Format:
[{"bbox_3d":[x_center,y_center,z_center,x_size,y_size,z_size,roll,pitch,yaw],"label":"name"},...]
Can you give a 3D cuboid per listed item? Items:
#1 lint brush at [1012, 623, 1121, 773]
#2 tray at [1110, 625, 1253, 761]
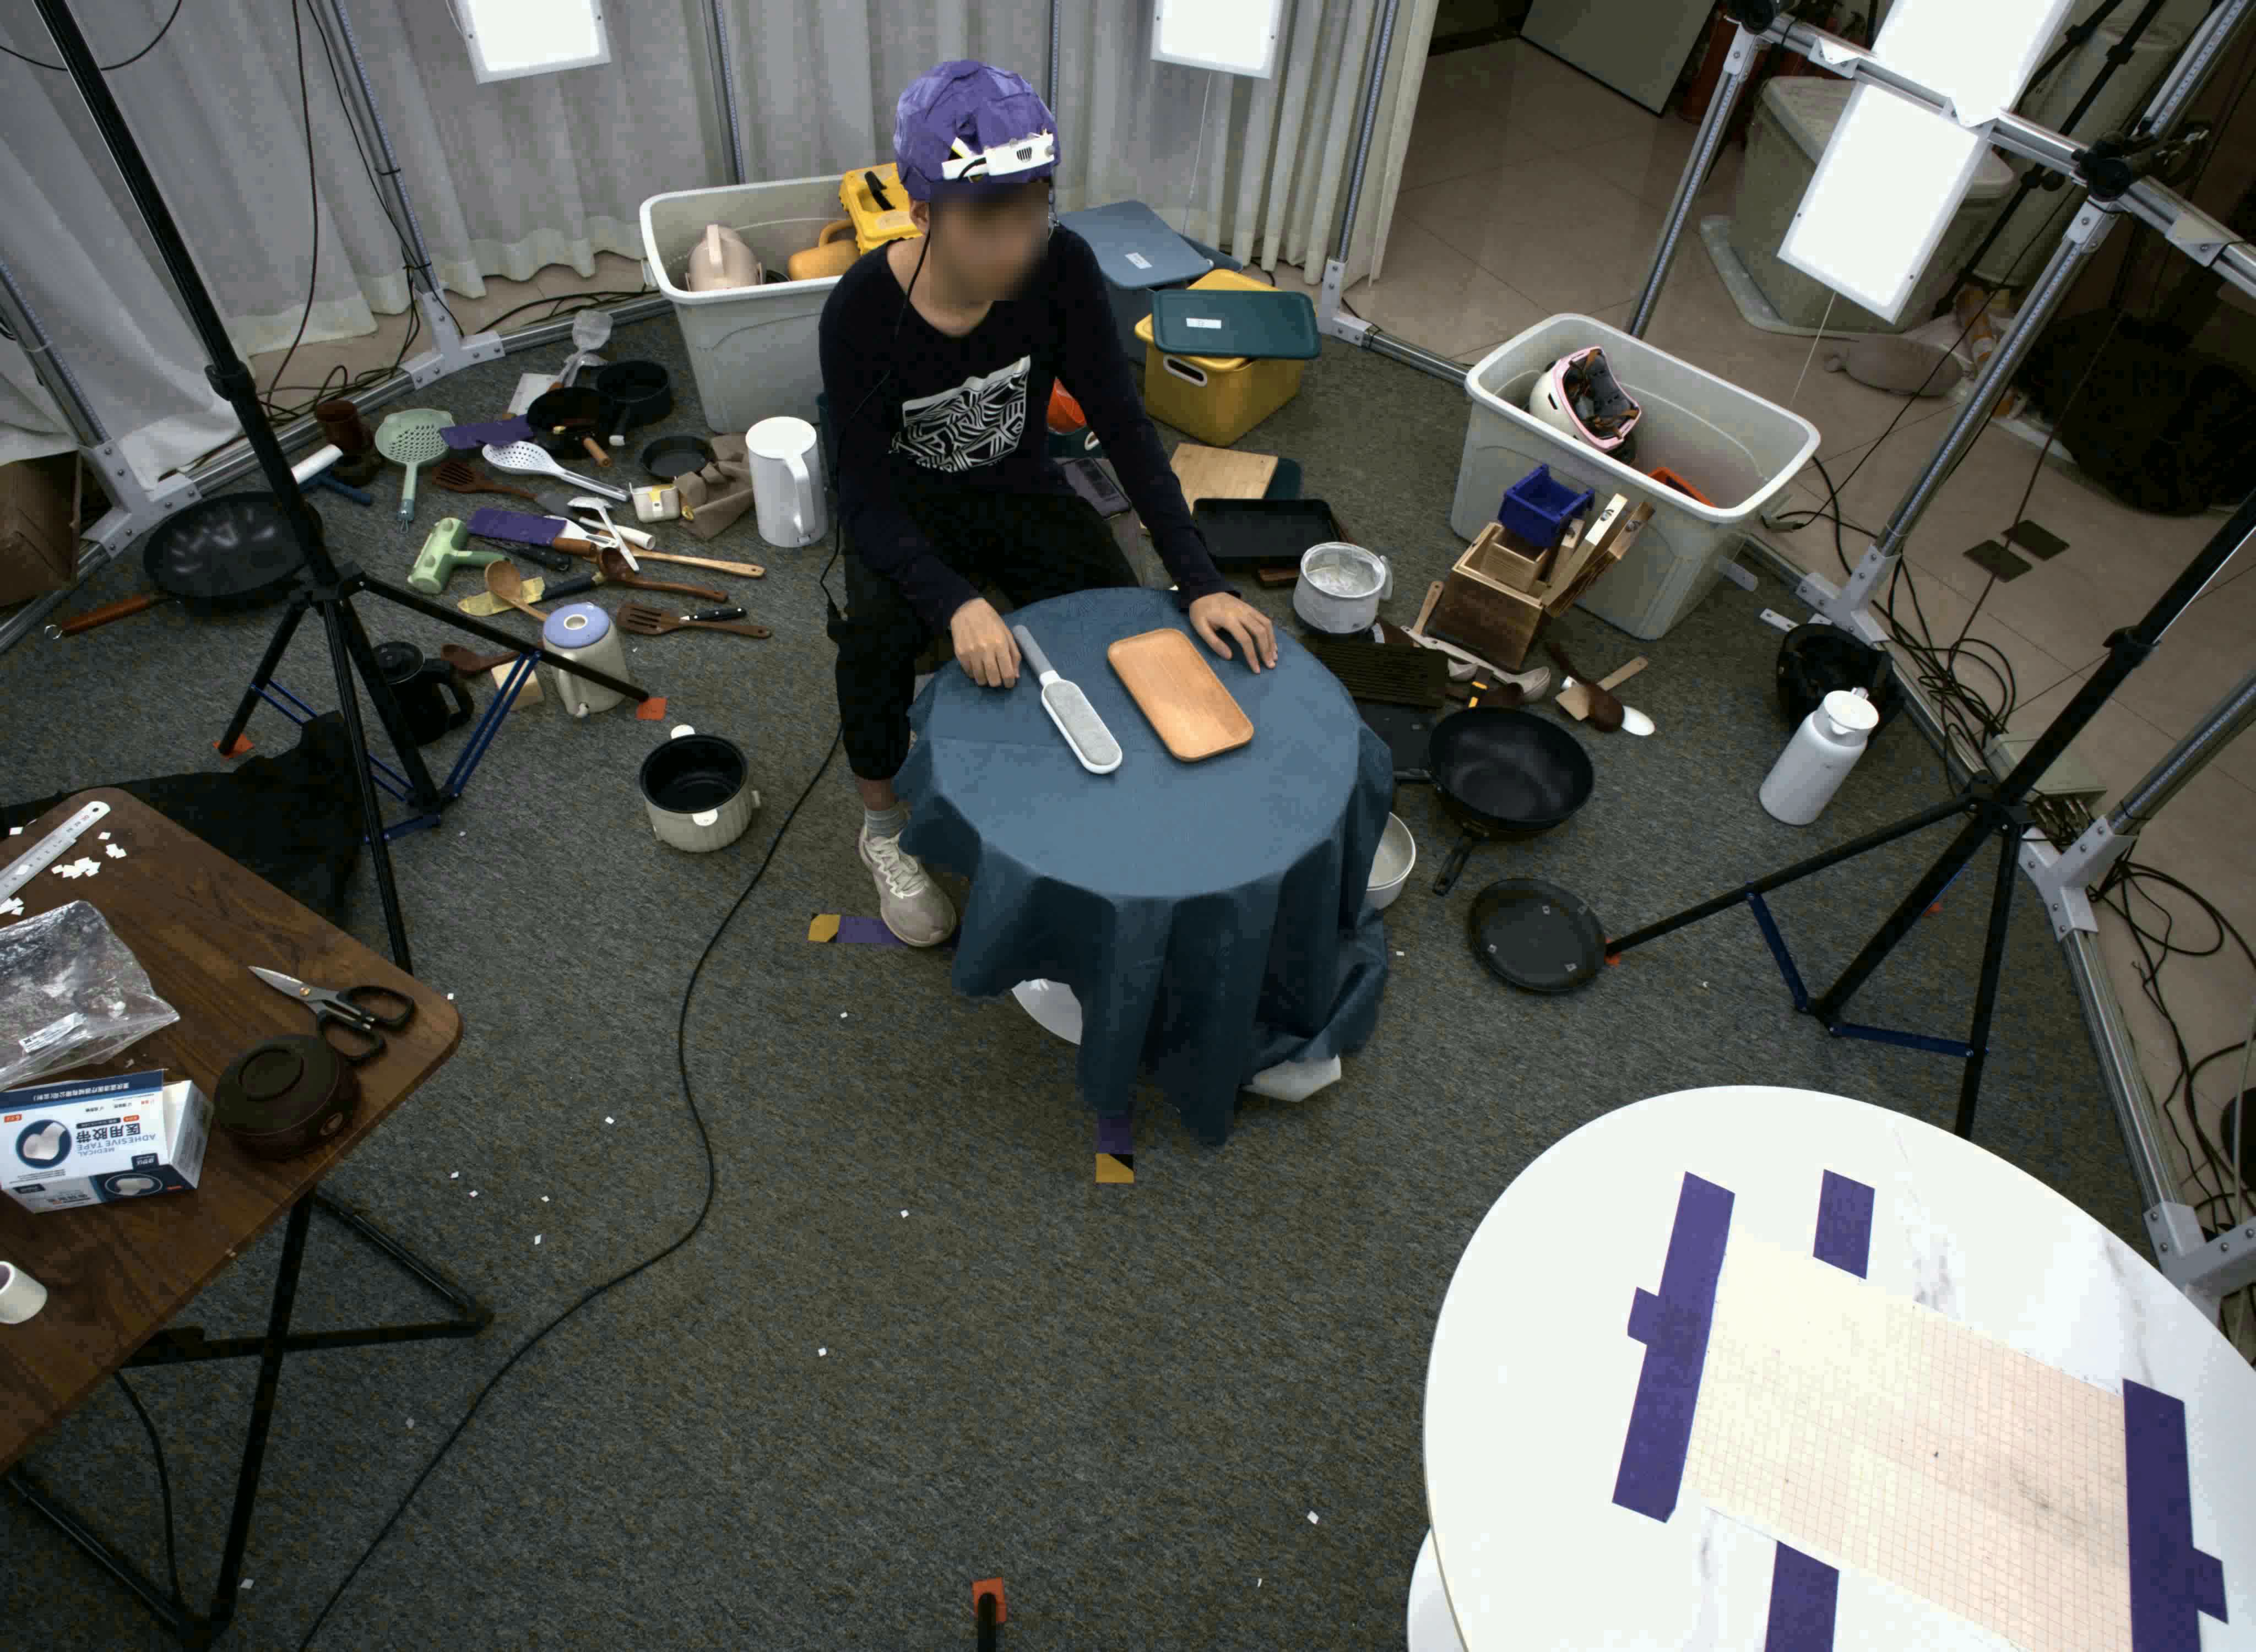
[{"bbox_3d":[-0.092,-0.186,1.805,0.060,0.020,0.316,-22,54,-15],"label":"lint brush"},{"bbox_3d":[0.073,-0.192,1.828,0.130,0.022,0.256,-15,51,-19],"label":"tray"}]
